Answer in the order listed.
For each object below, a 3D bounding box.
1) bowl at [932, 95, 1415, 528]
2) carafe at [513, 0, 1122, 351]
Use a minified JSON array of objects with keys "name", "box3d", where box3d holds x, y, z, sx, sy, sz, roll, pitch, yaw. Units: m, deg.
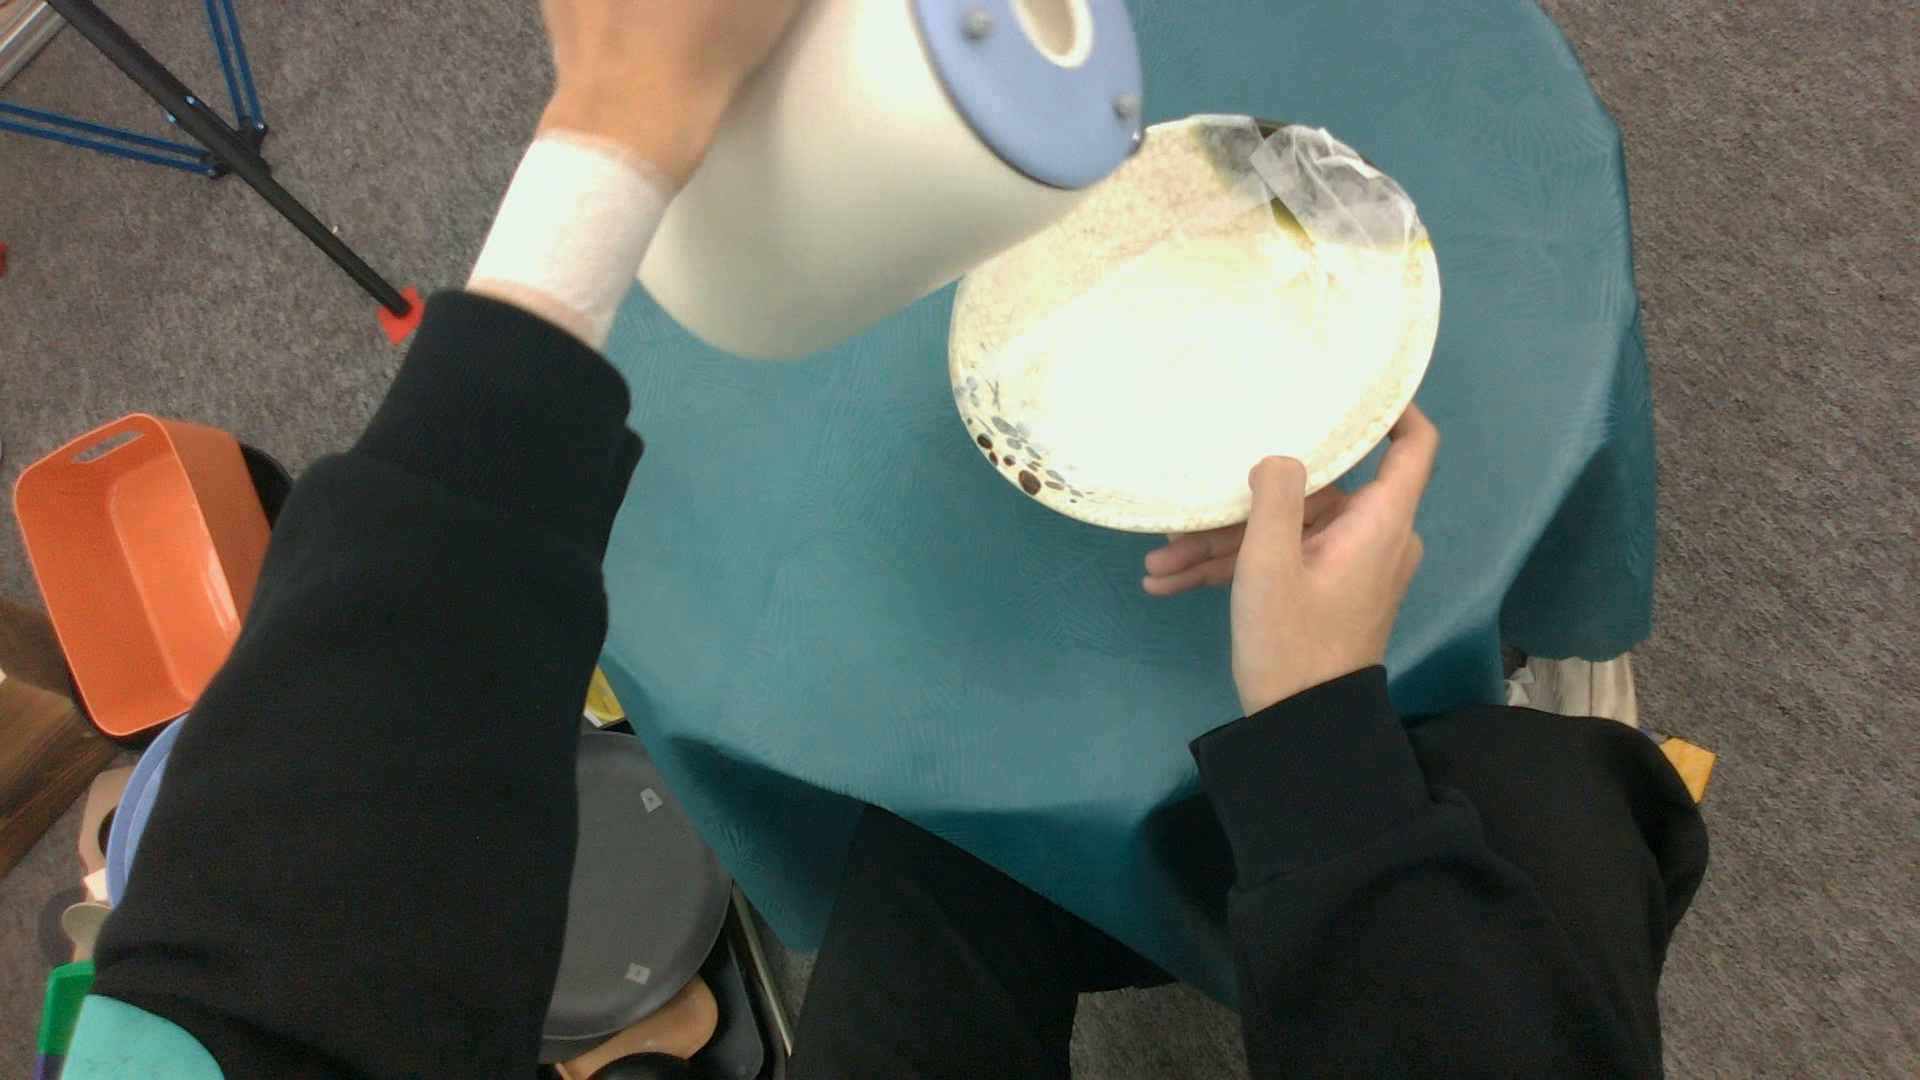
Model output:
[{"name":"bowl","box3d":[0.095,-0.090,0.612,0.203,0.078,0.204,-6,69,15]},{"name":"carafe","box3d":[-0.063,-0.168,0.503,0.181,0.191,0.132,-23,54,44]}]
